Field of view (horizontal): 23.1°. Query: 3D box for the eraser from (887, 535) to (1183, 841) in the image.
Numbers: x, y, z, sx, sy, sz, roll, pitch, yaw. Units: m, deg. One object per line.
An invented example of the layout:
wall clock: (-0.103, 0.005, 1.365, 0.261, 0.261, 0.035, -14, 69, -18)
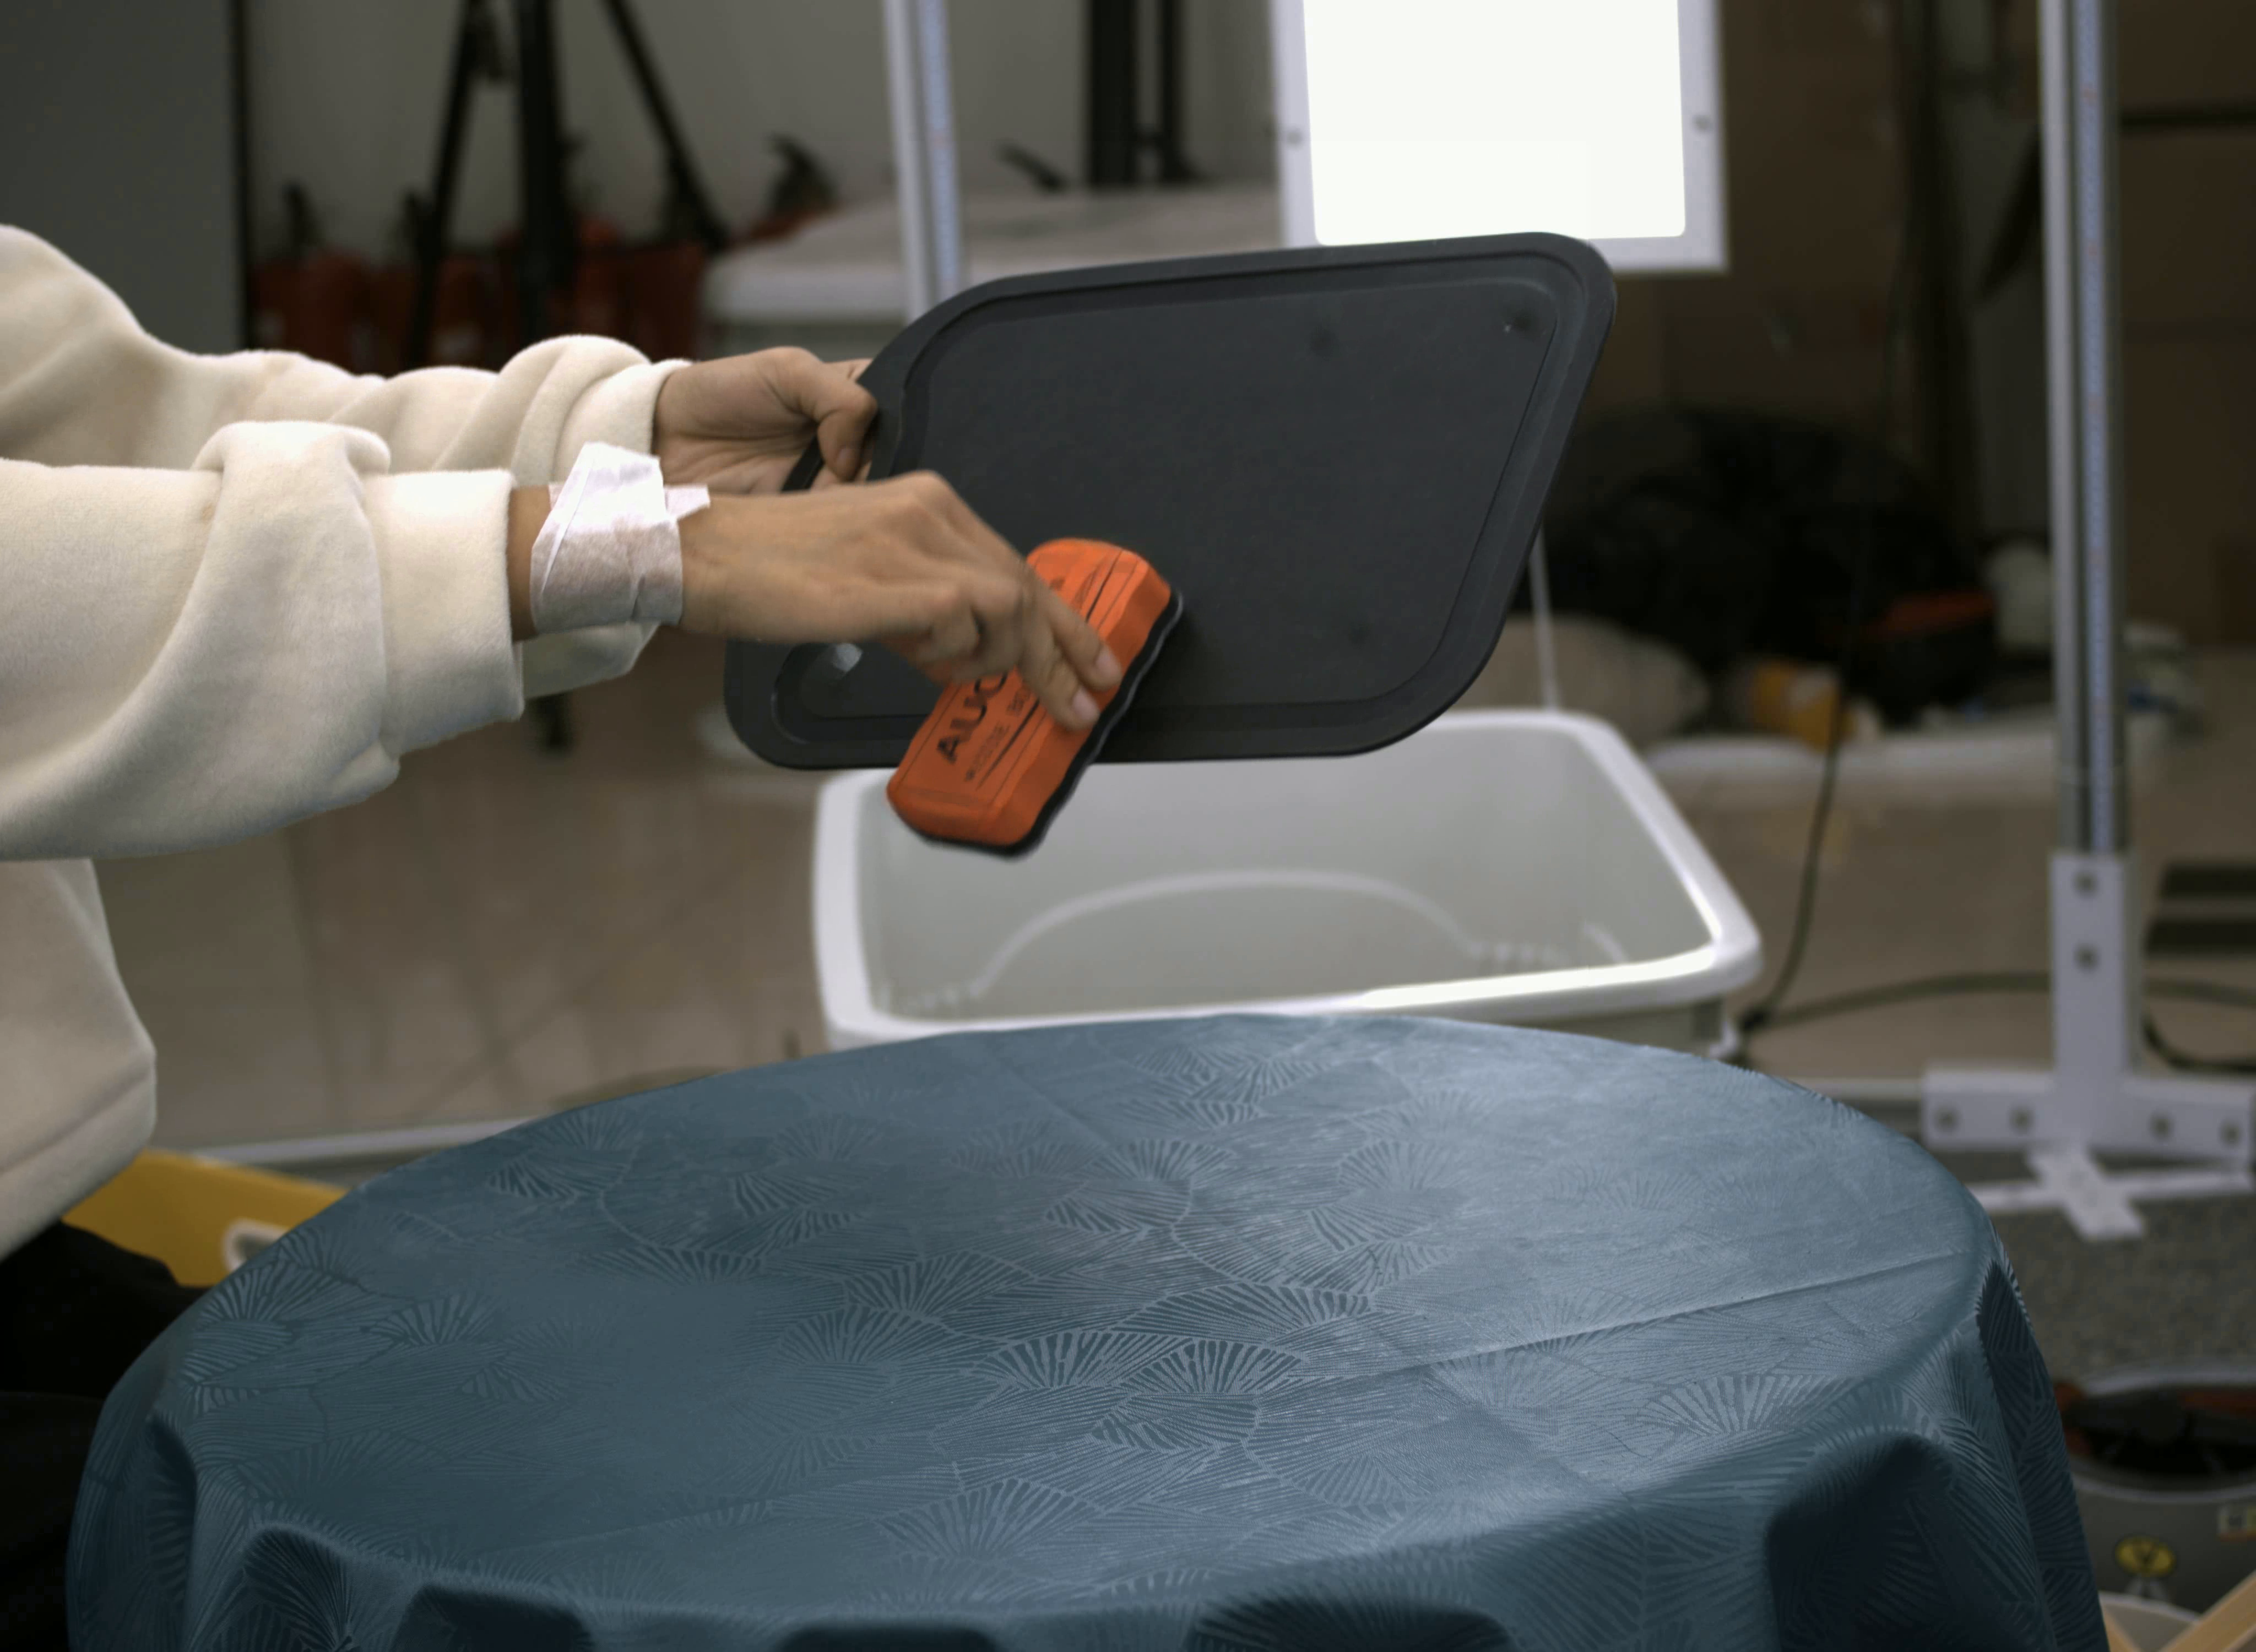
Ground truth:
eraser: (-0.030, -0.045, 1.769, 0.060, 0.022, 0.107, 8, 60, 50)

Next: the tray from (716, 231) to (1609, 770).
tray: (0.000, -0.107, 1.816, 0.332, 0.009, 0.209, 0, 57, 38)
